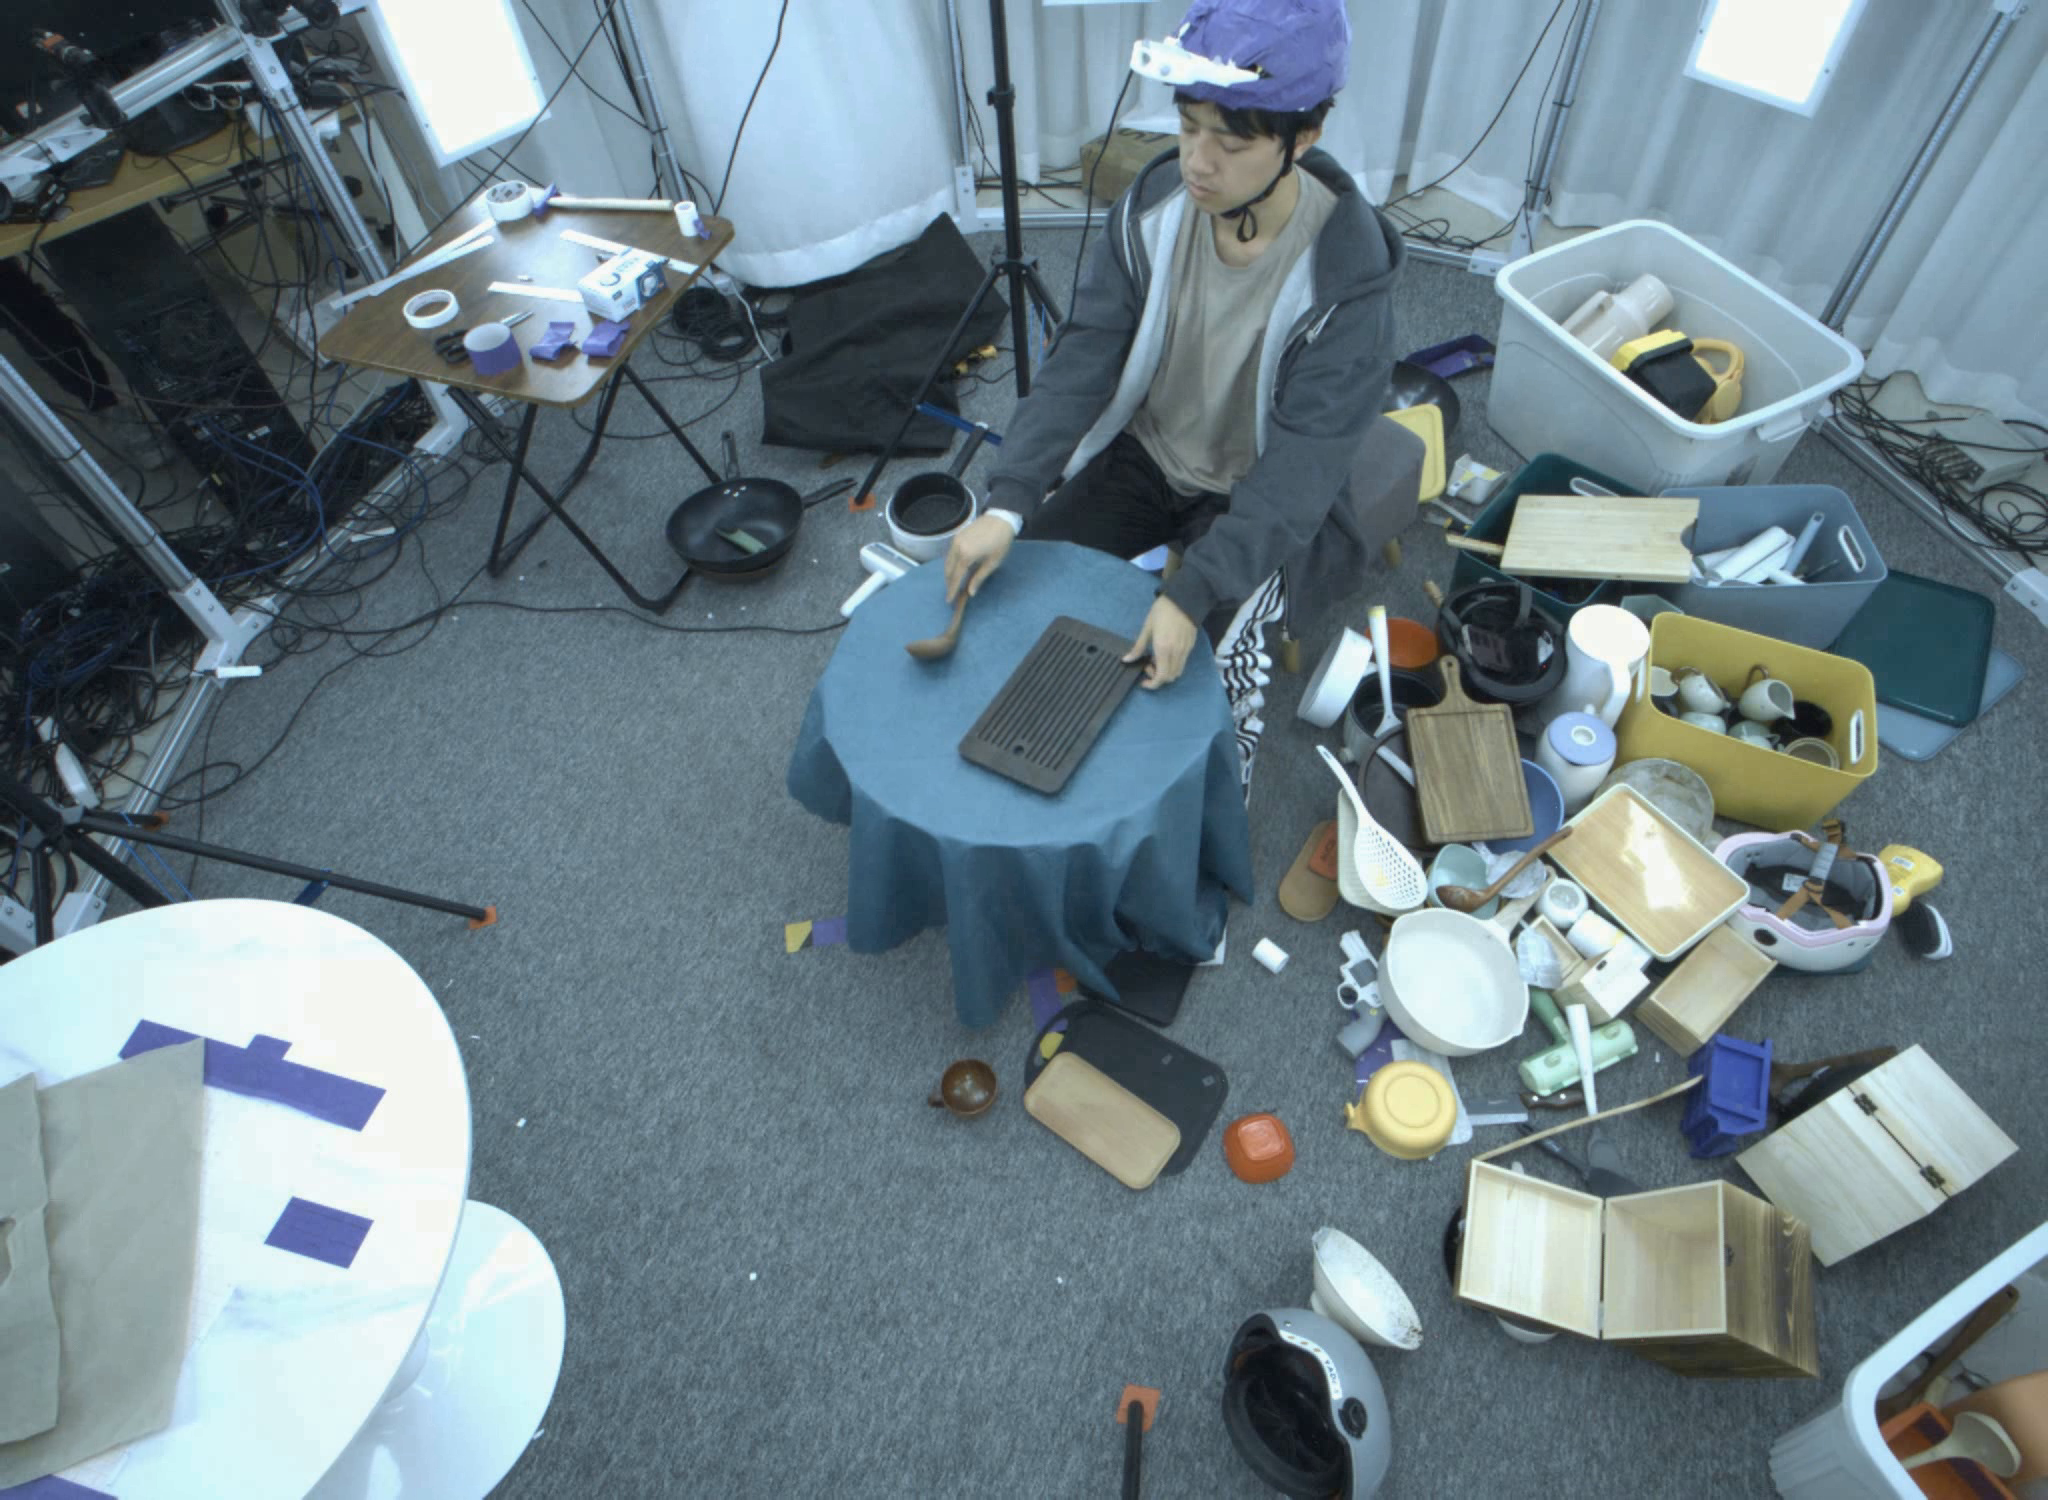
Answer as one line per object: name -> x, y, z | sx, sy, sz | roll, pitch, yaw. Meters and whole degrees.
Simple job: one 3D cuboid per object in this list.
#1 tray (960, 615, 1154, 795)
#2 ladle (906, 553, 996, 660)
tray -> 0.053, -0.071, 1.826 | 0.167, 0.019, 0.307 | 25, 59, 19
ladle -> -0.109, -0.236, 1.923 | 0.075, 0.066, 0.260 | -3, 50, 35
